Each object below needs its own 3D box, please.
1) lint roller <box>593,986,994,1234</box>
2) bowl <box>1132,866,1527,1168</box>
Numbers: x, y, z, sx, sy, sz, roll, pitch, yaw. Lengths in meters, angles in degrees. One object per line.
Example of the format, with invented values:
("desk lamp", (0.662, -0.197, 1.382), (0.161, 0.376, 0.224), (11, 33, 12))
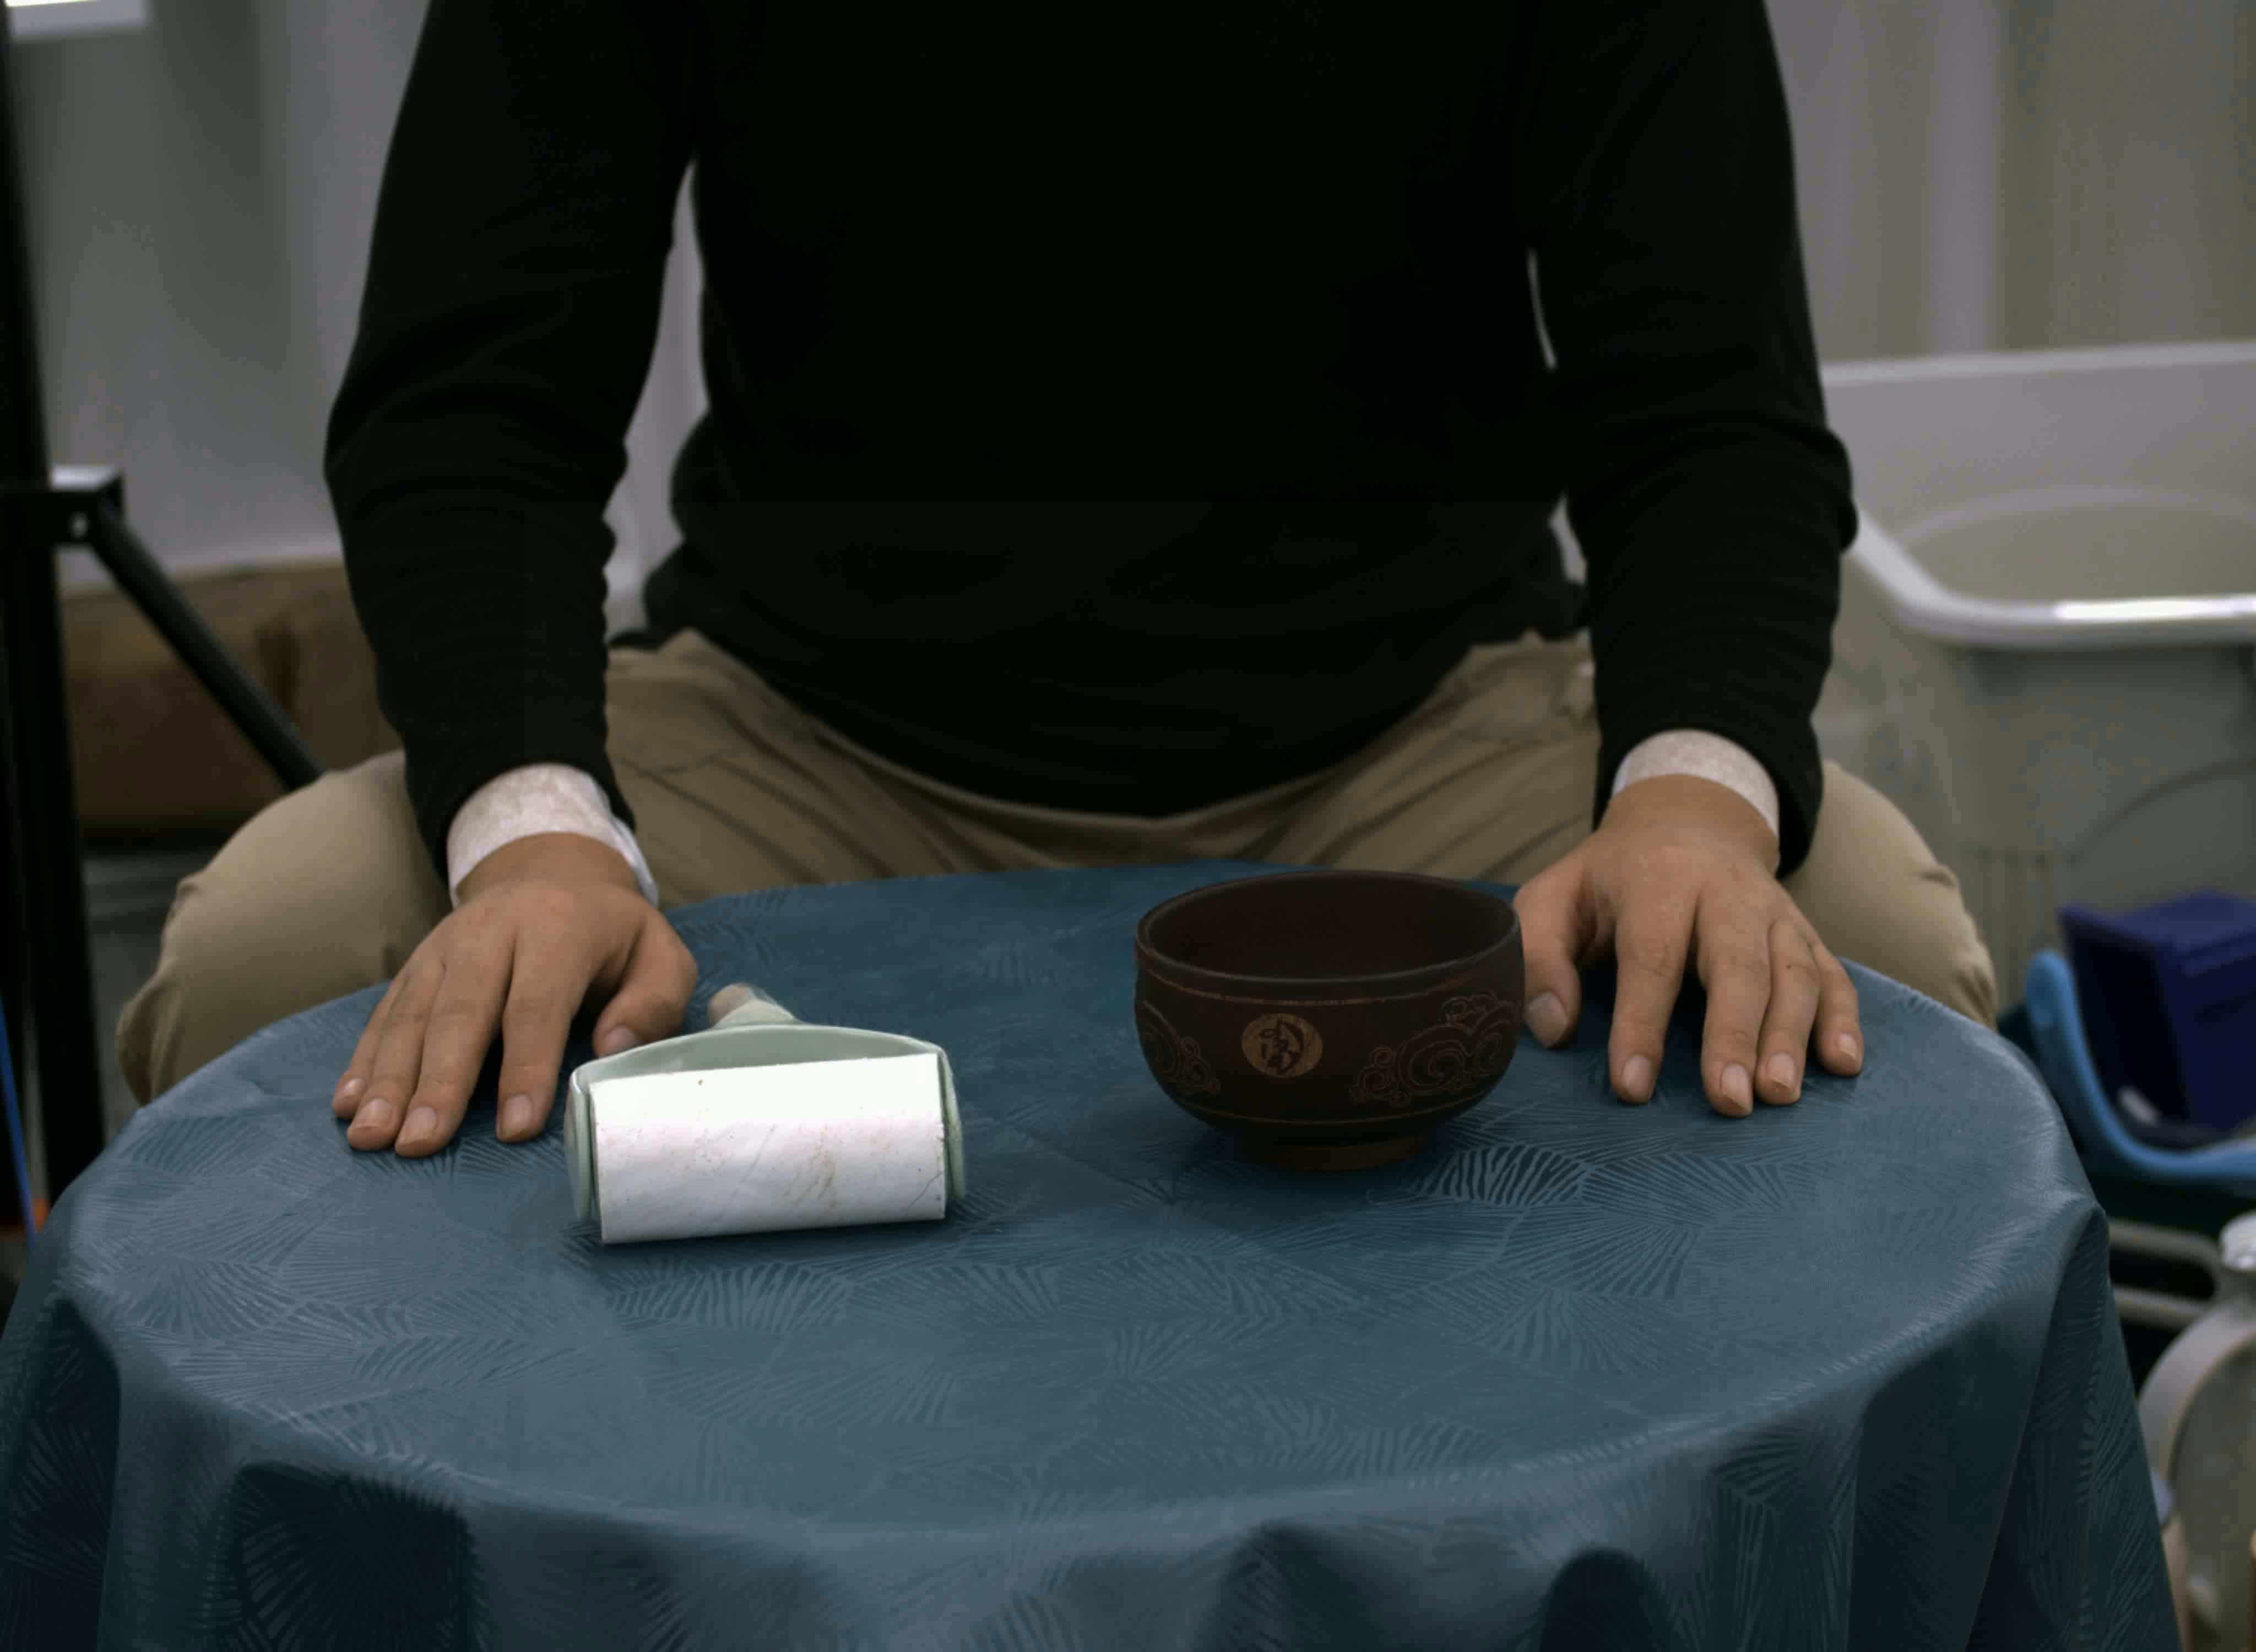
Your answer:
("lint roller", (-0.104, 0.075, 1.611), (0.116, 0.048, 0.199), (-5, 14, -5))
("bowl", (0.061, 0.061, 1.583), (0.117, 0.070, 0.118), (-3, 15, -1))
